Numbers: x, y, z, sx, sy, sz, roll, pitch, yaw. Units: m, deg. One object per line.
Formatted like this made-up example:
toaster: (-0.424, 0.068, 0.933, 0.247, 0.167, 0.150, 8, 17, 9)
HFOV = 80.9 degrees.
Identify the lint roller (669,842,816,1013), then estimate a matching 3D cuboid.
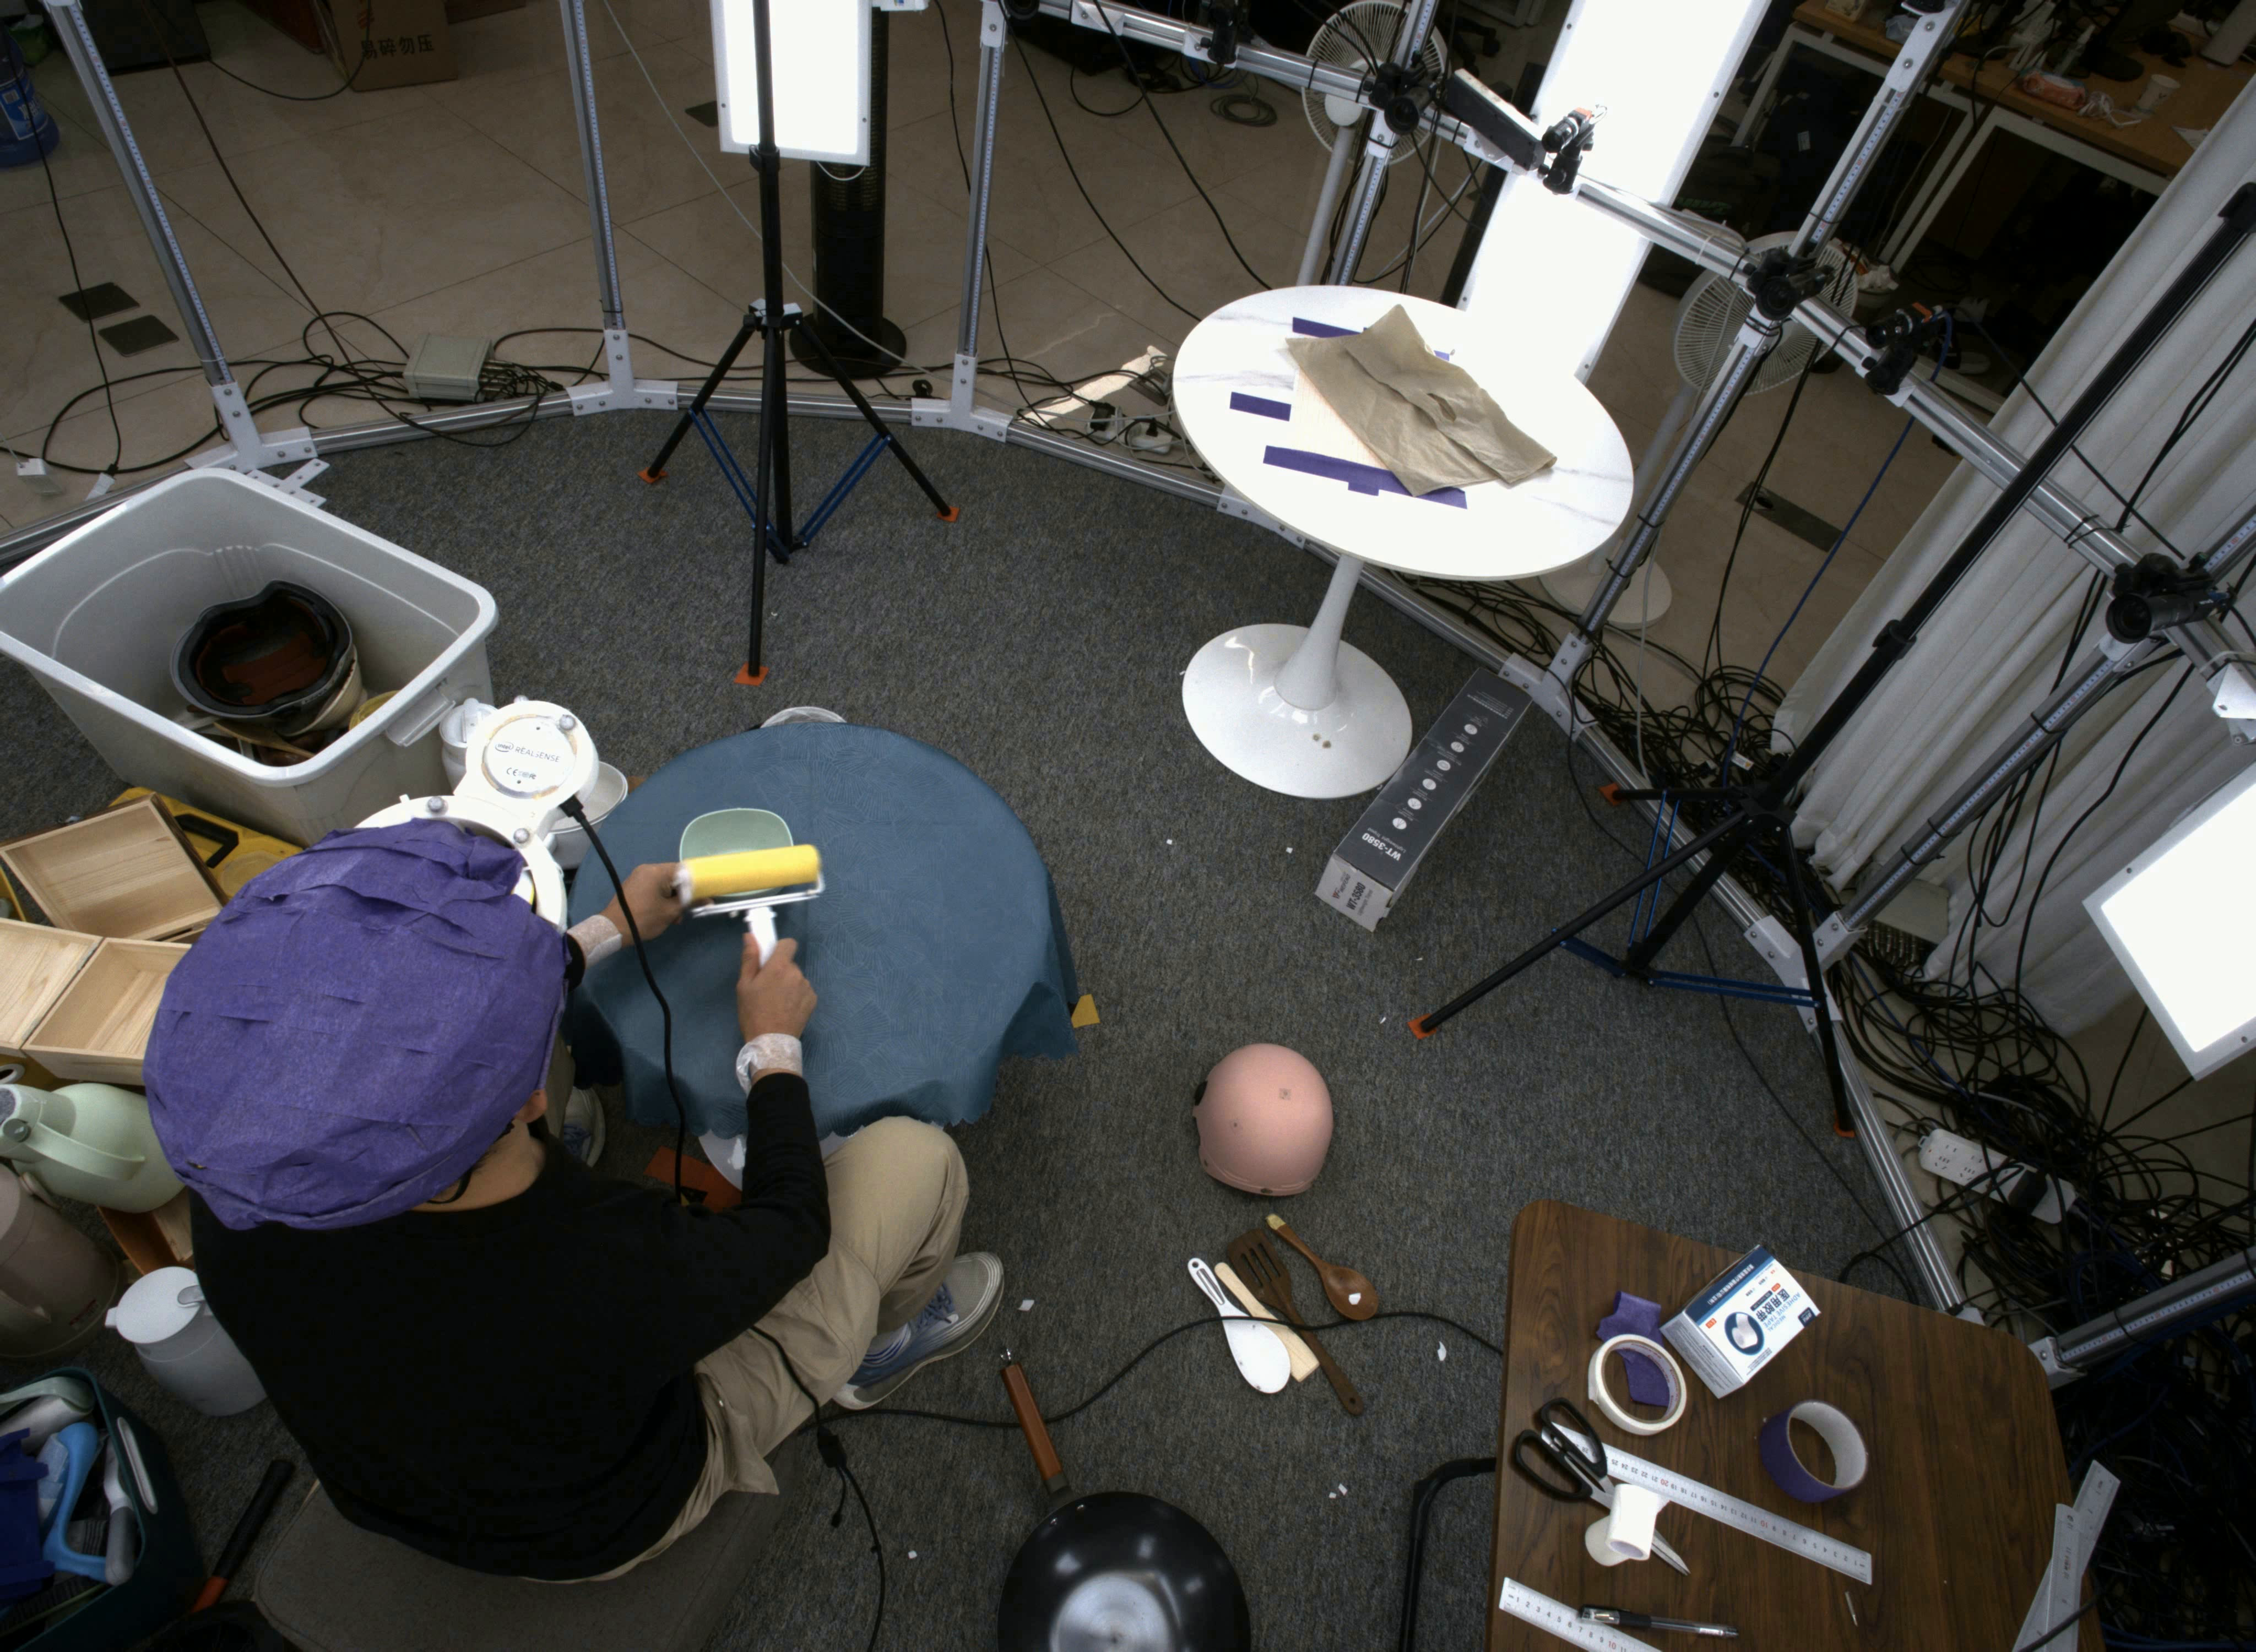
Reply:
lint roller: (-0.428, 0.116, 1.505, 0.177, 0.051, 0.191, -9, 73, -43)

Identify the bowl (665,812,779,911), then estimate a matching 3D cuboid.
bowl: (-0.506, 0.052, 1.620, 0.151, 0.060, 0.148, 8, 50, -8)
